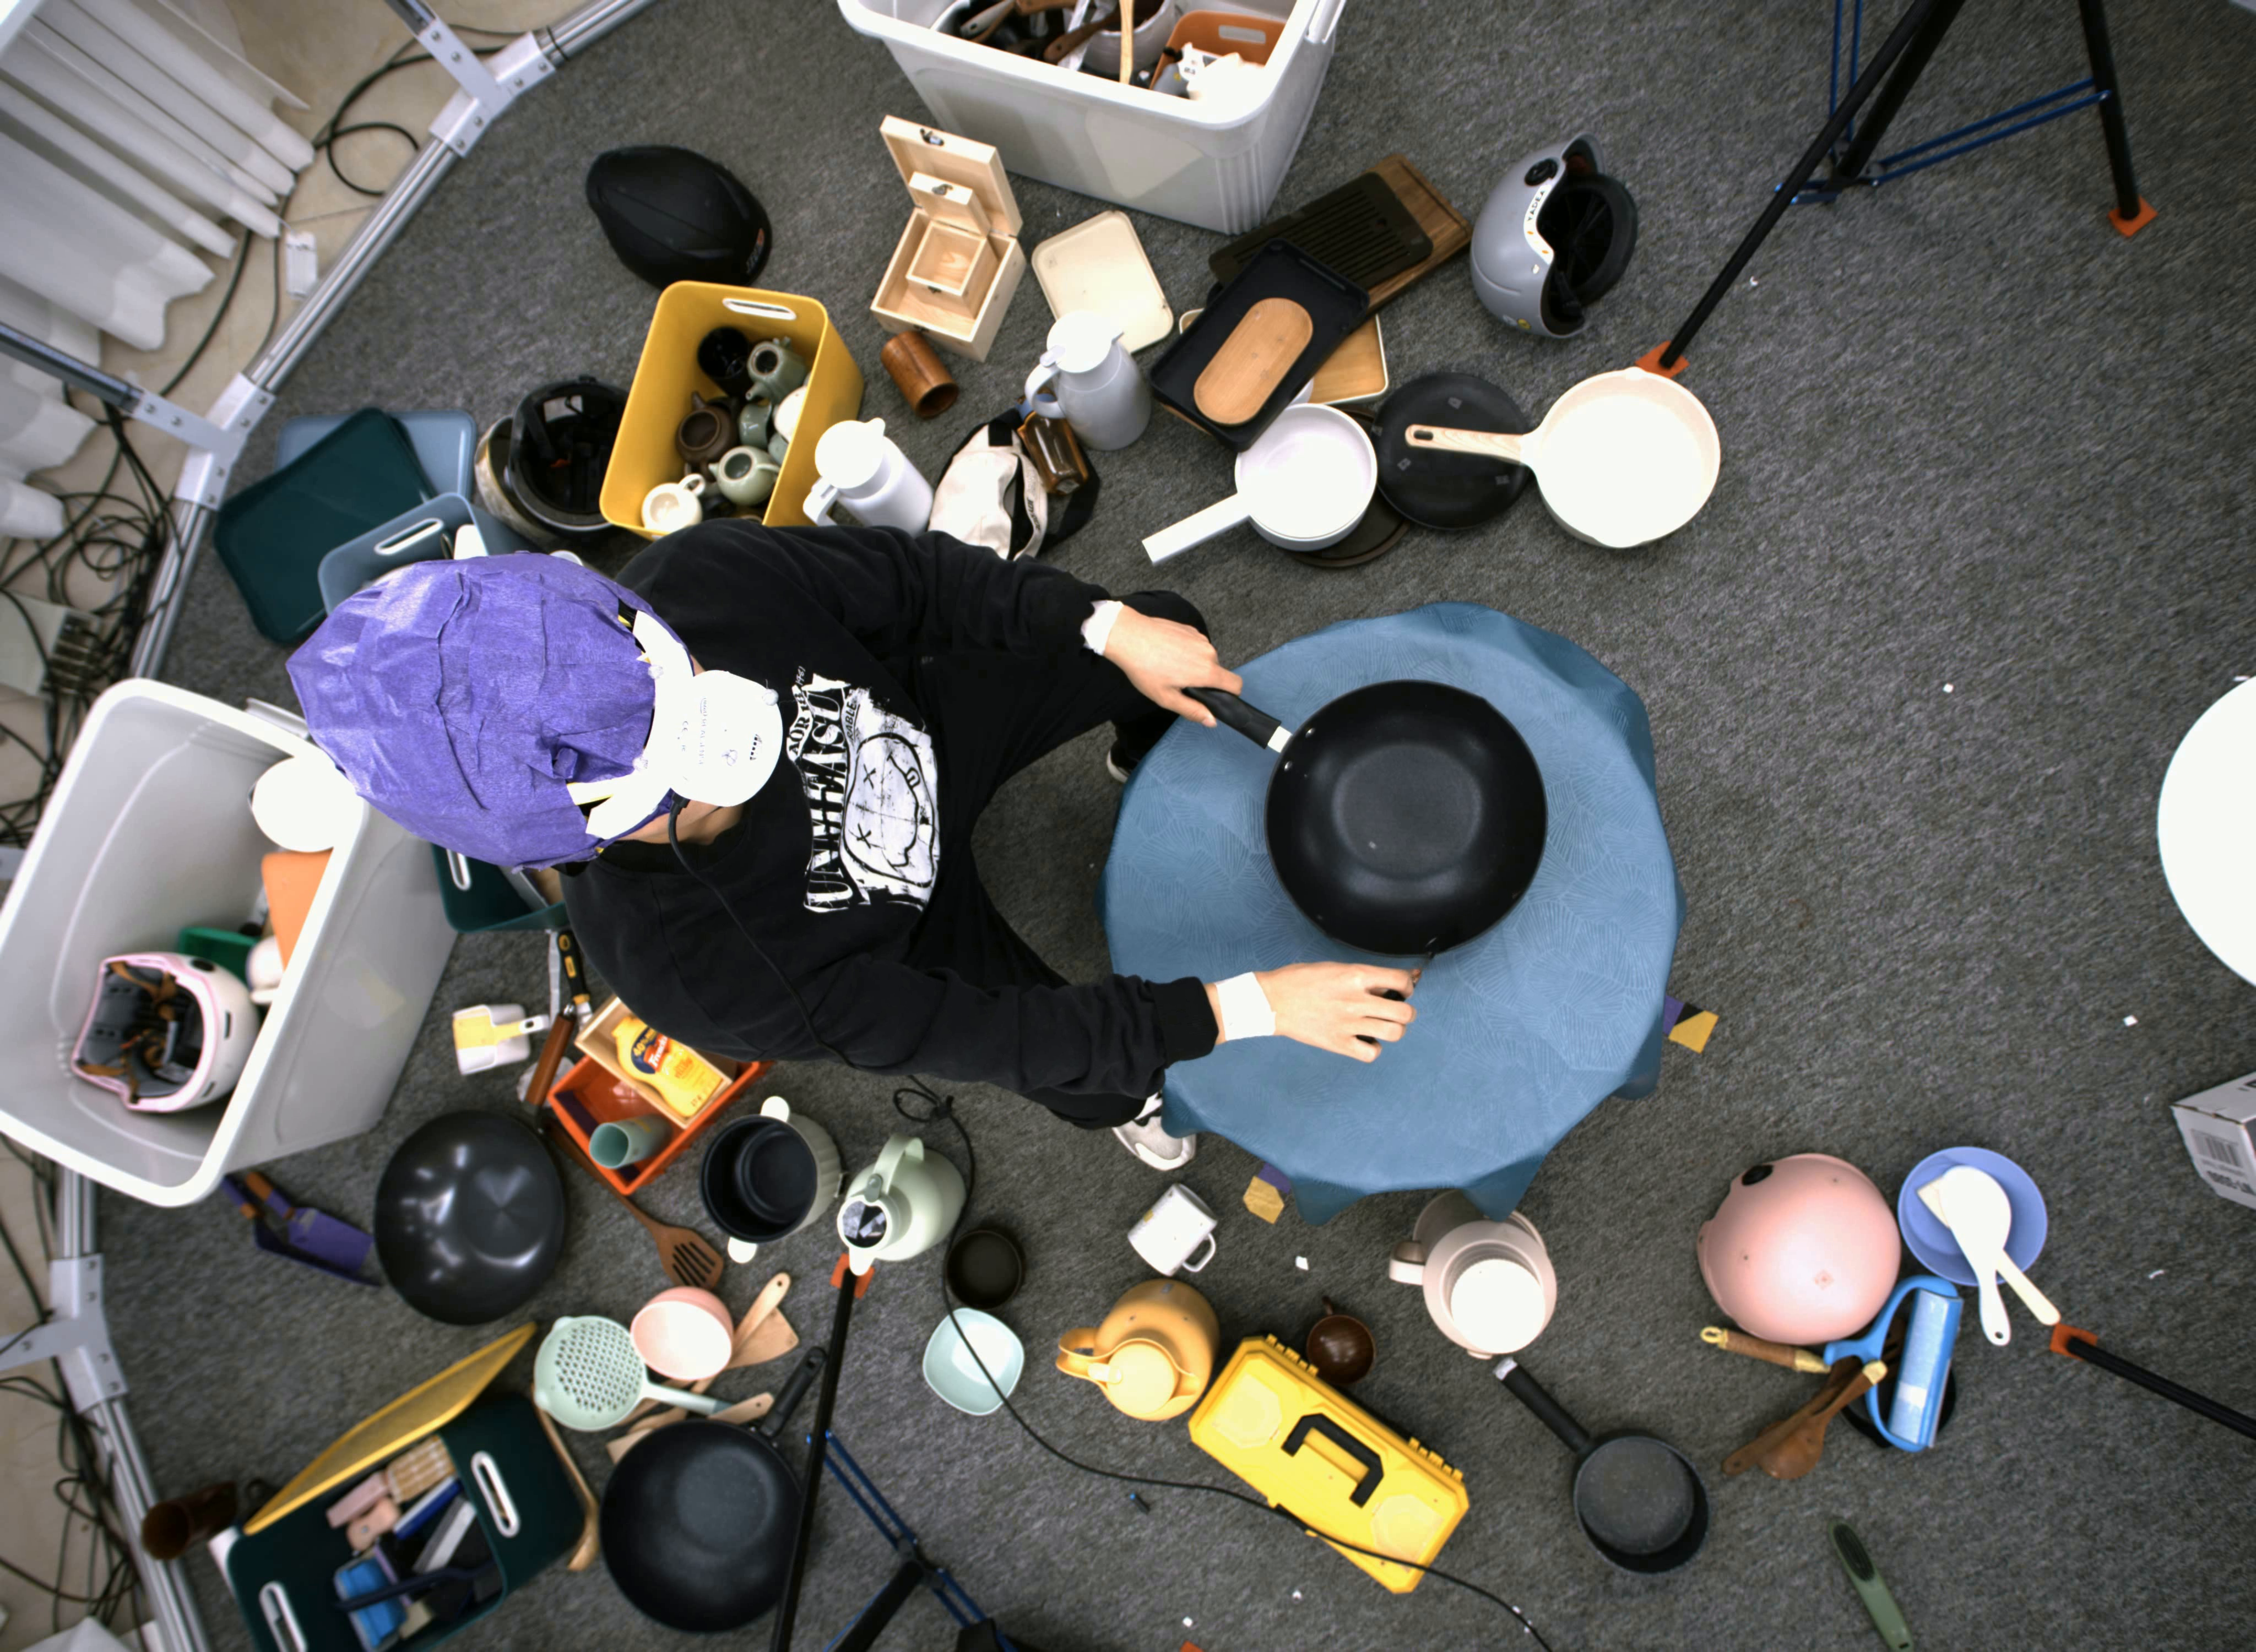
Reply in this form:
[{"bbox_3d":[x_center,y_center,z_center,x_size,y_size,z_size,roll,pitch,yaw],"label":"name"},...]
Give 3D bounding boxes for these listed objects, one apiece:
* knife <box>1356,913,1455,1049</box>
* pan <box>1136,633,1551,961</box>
[{"bbox_3d":[0.278,0.144,1.352,0.017,0.220,0.027,52,140,-6],"label":"knife"},{"bbox_3d":[0.209,-0.060,1.413,0.462,0.085,0.292,33,108,7],"label":"pan"}]
